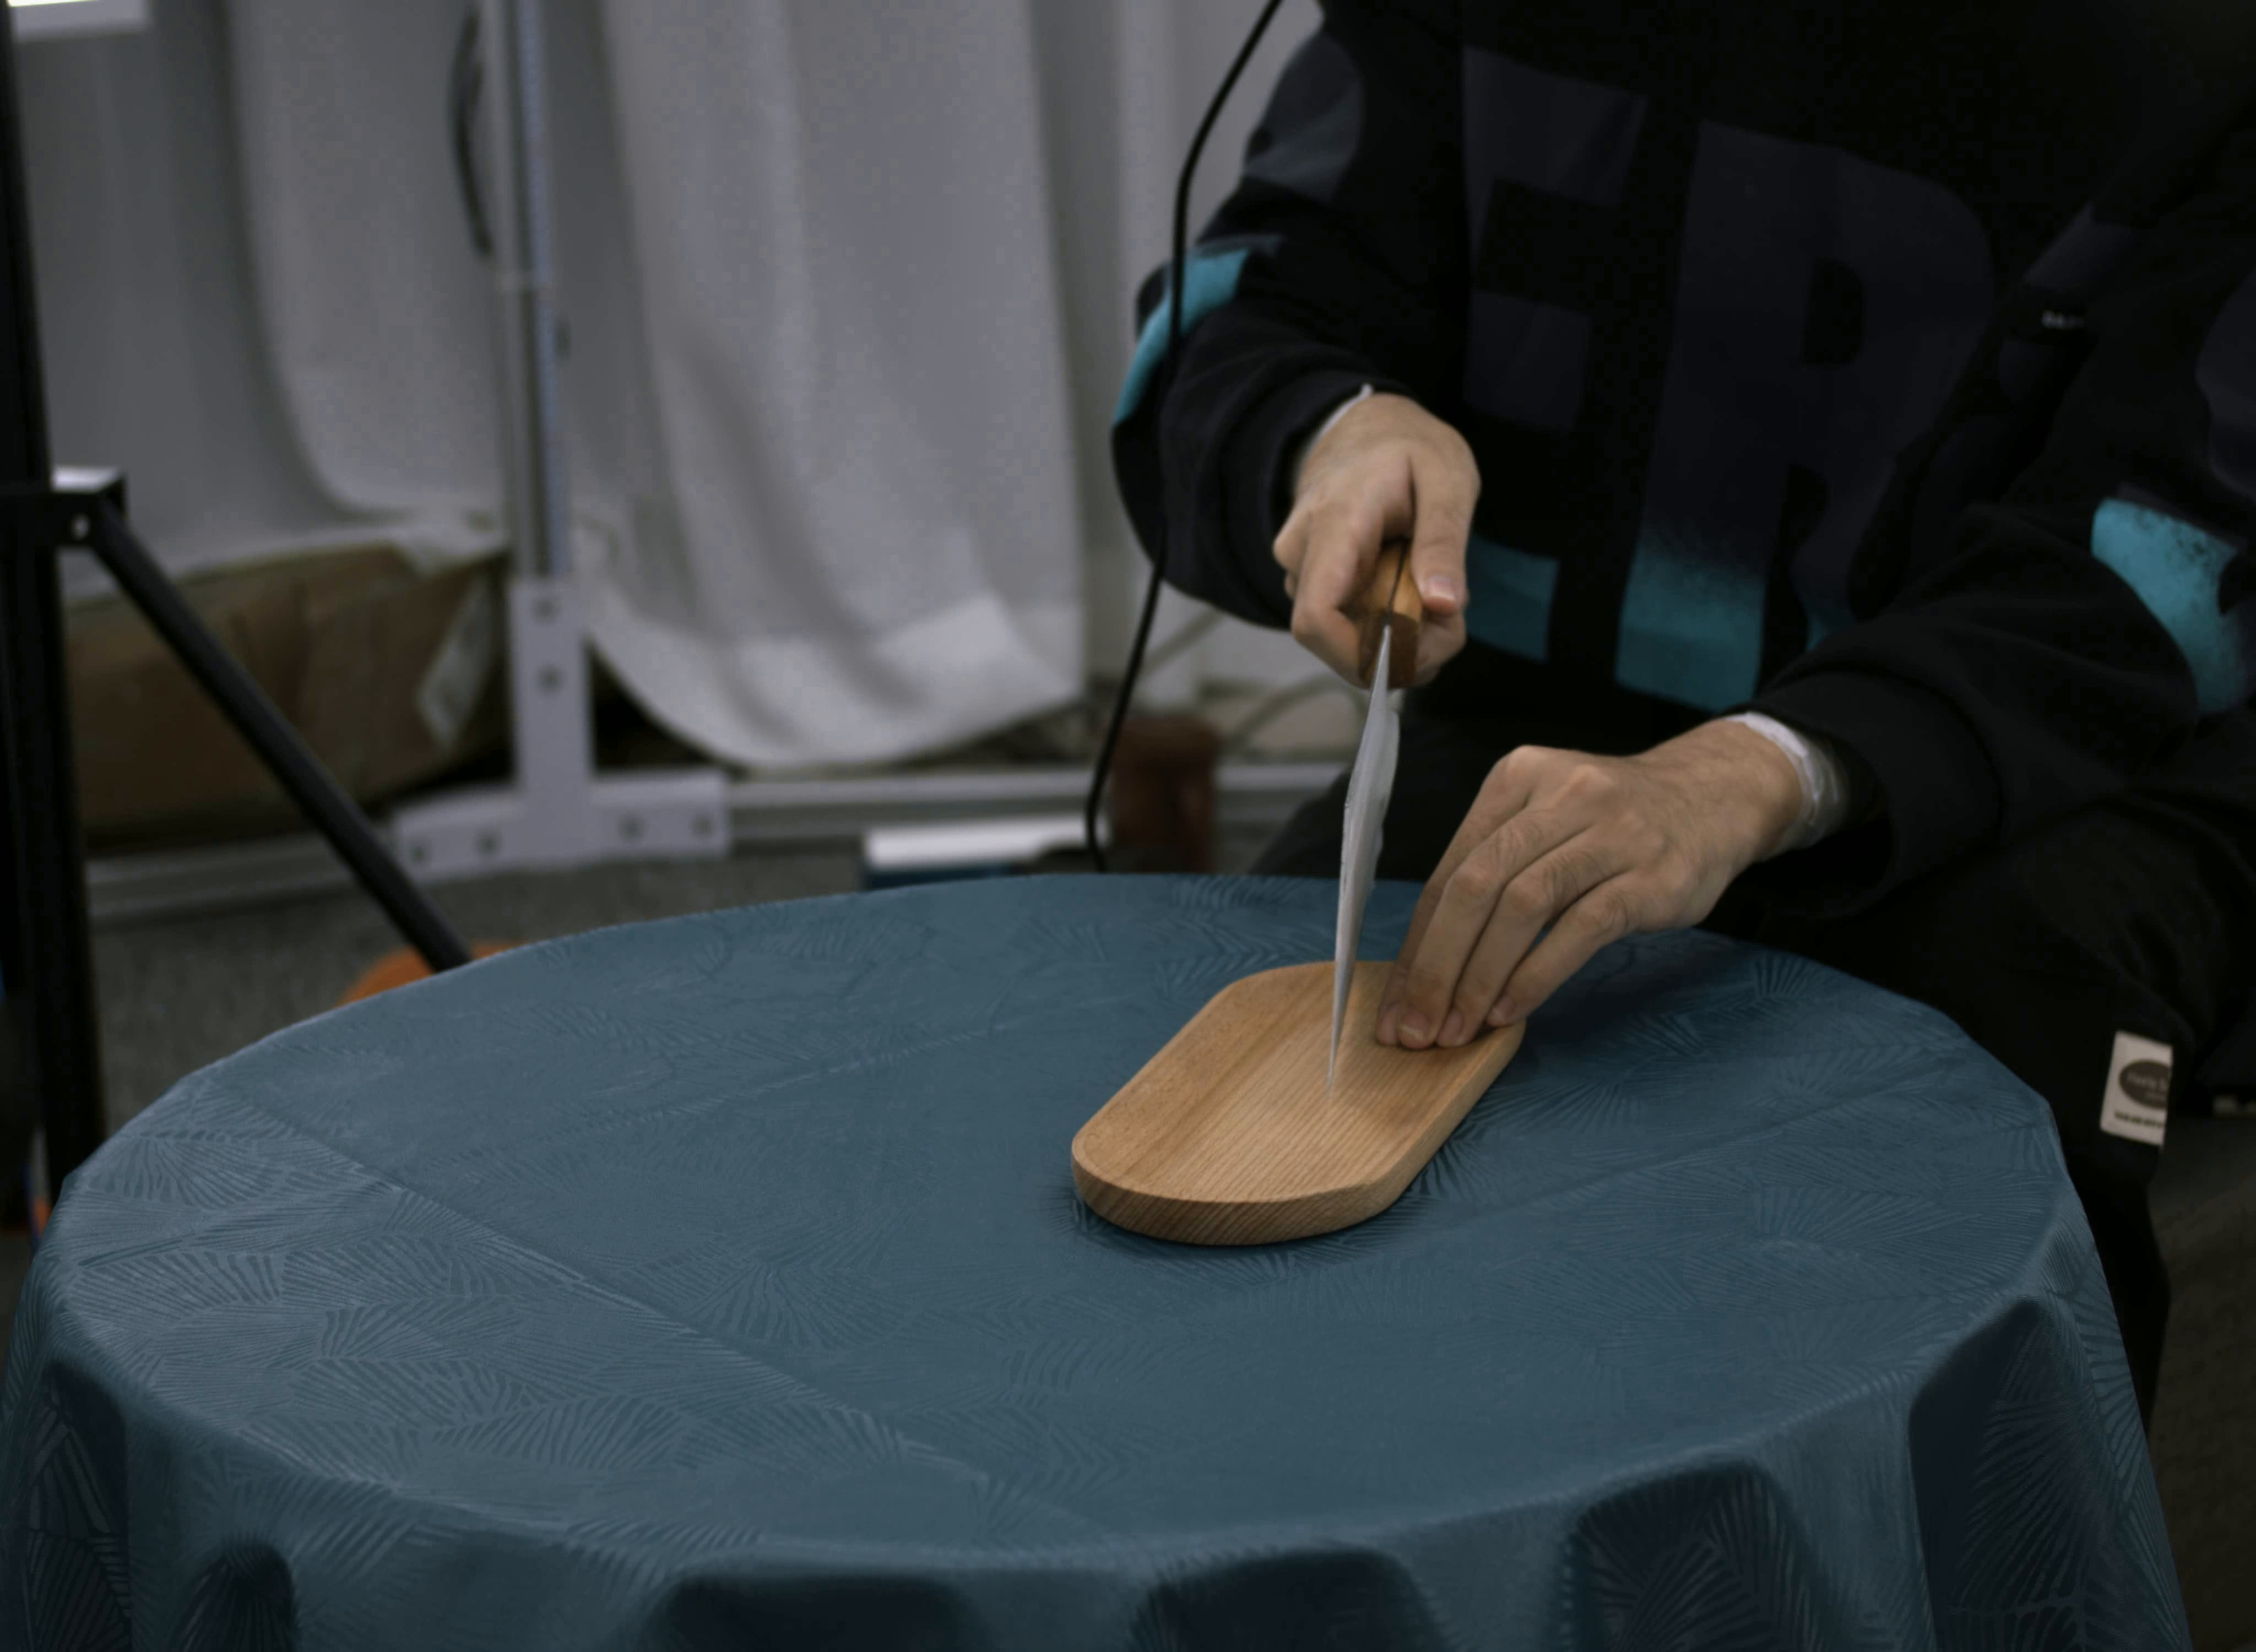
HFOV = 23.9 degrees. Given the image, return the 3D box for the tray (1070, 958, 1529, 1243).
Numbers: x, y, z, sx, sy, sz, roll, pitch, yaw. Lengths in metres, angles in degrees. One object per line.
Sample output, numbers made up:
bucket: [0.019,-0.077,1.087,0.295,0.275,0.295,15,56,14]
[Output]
tray: [0.055,0.081,1.612,0.103,0.020,0.228,5,16,19]

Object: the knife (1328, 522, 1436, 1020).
knife: [0.081,-0.019,1.741,0.021,0.093,0.305,4,21,5]
